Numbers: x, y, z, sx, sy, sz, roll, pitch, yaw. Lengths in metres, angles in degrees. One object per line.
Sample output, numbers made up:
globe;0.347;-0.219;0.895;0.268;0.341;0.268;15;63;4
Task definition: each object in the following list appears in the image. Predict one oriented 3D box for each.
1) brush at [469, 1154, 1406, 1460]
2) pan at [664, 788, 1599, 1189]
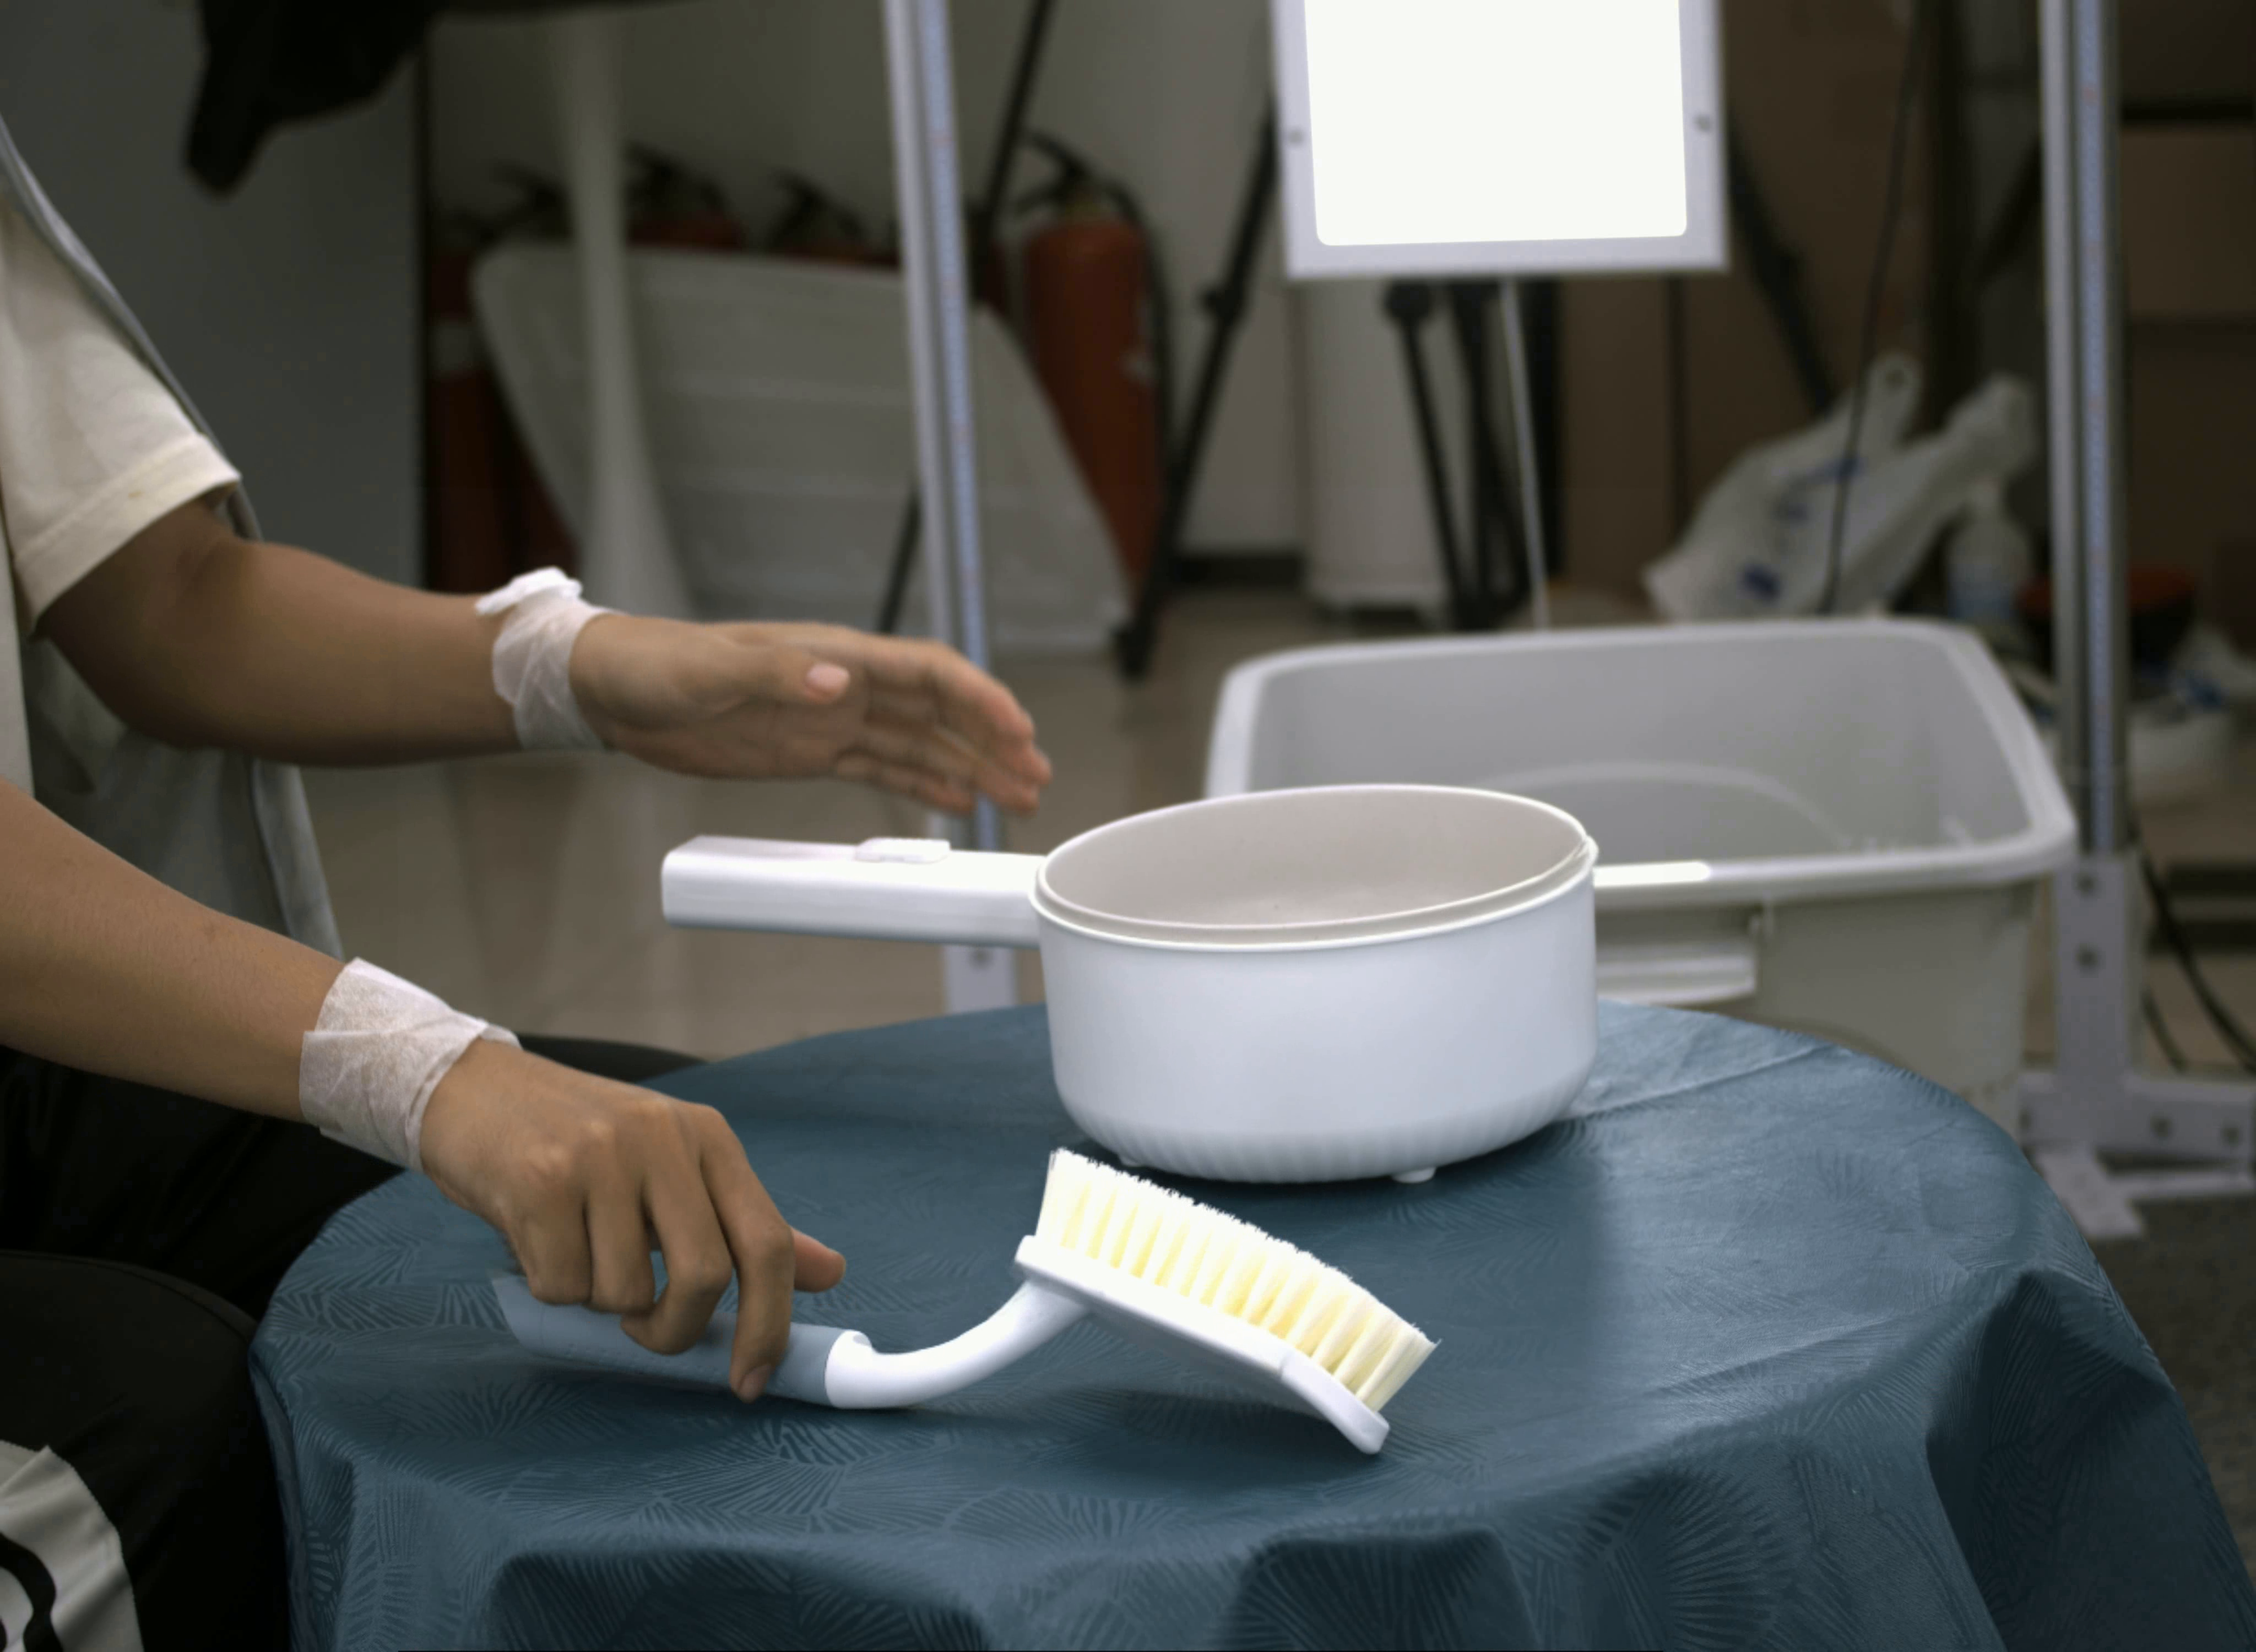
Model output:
brush;-0.062;0.133;1.704;0.331;0.083;0.083;6;32;30
pan;-0.001;0.058;1.973;0.361;0.102;0.197;1;15;26
